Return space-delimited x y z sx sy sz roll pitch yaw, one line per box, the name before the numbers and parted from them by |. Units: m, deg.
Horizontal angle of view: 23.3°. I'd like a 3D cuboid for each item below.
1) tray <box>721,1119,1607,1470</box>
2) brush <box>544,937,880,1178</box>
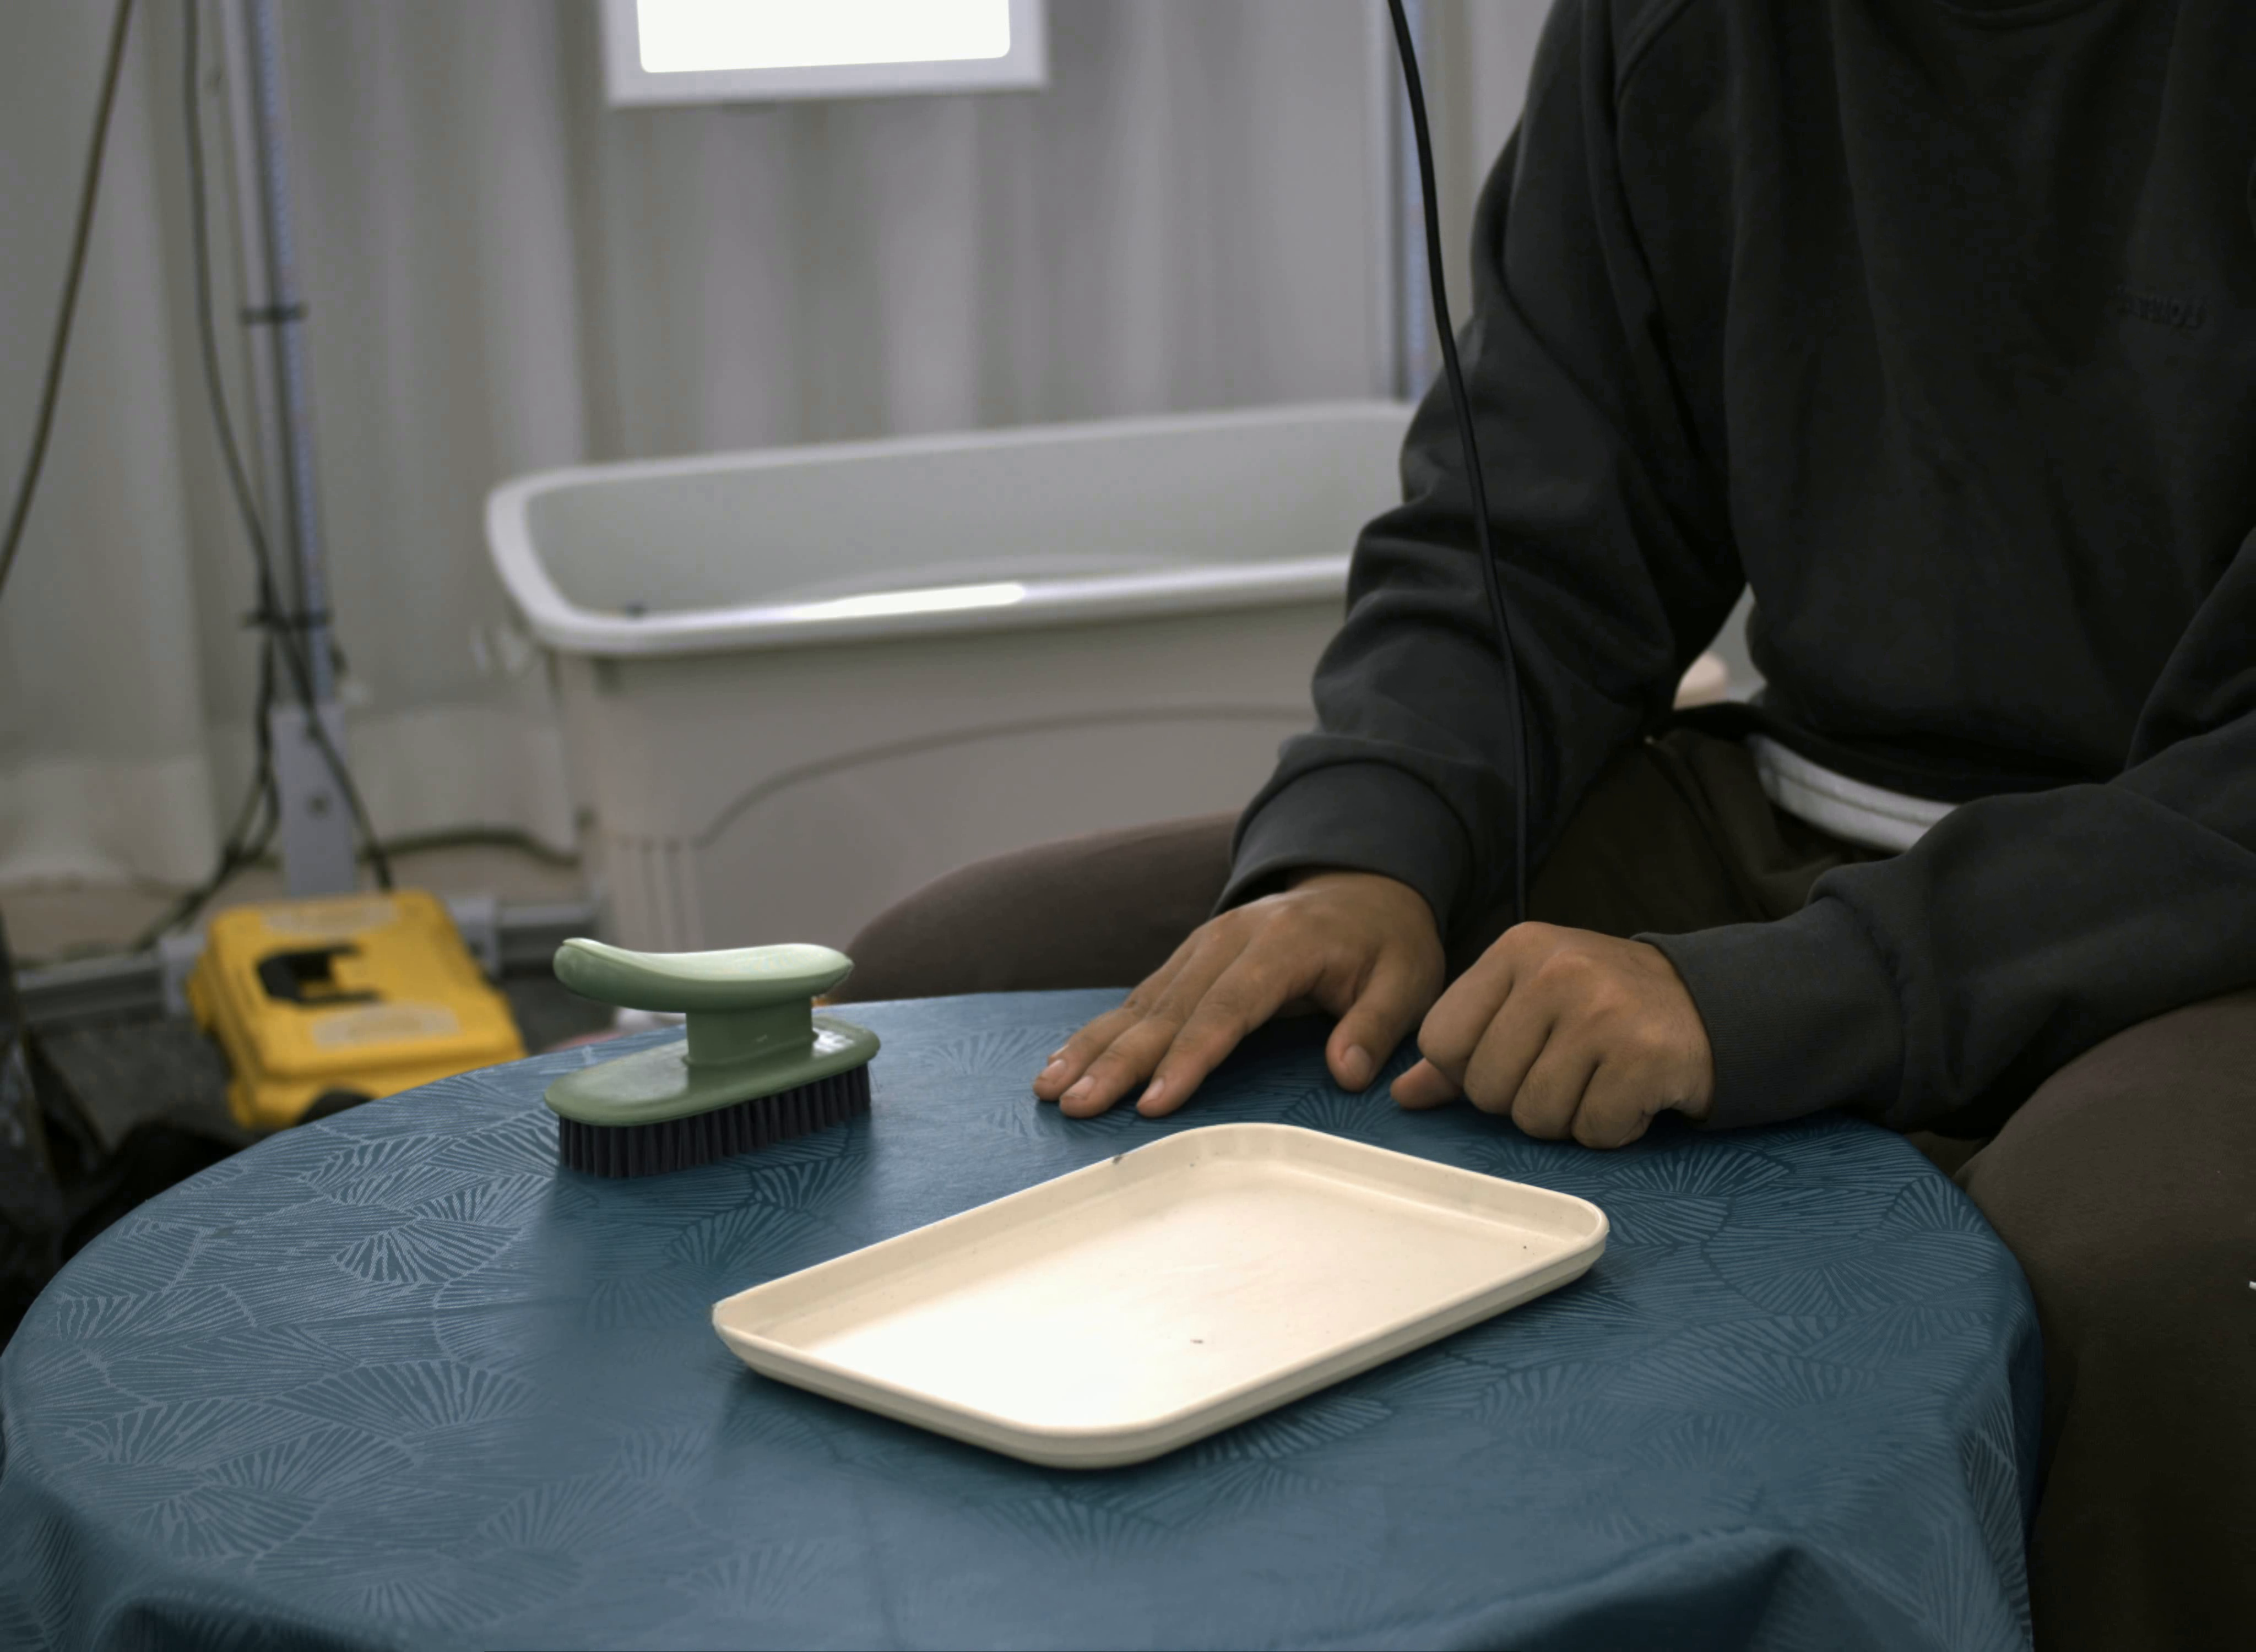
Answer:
tray | 0.013 0.136 1.601 0.172 0.017 0.239 12 21 43
brush | -0.137 0.075 1.787 0.122 0.076 0.060 3 8 -42
